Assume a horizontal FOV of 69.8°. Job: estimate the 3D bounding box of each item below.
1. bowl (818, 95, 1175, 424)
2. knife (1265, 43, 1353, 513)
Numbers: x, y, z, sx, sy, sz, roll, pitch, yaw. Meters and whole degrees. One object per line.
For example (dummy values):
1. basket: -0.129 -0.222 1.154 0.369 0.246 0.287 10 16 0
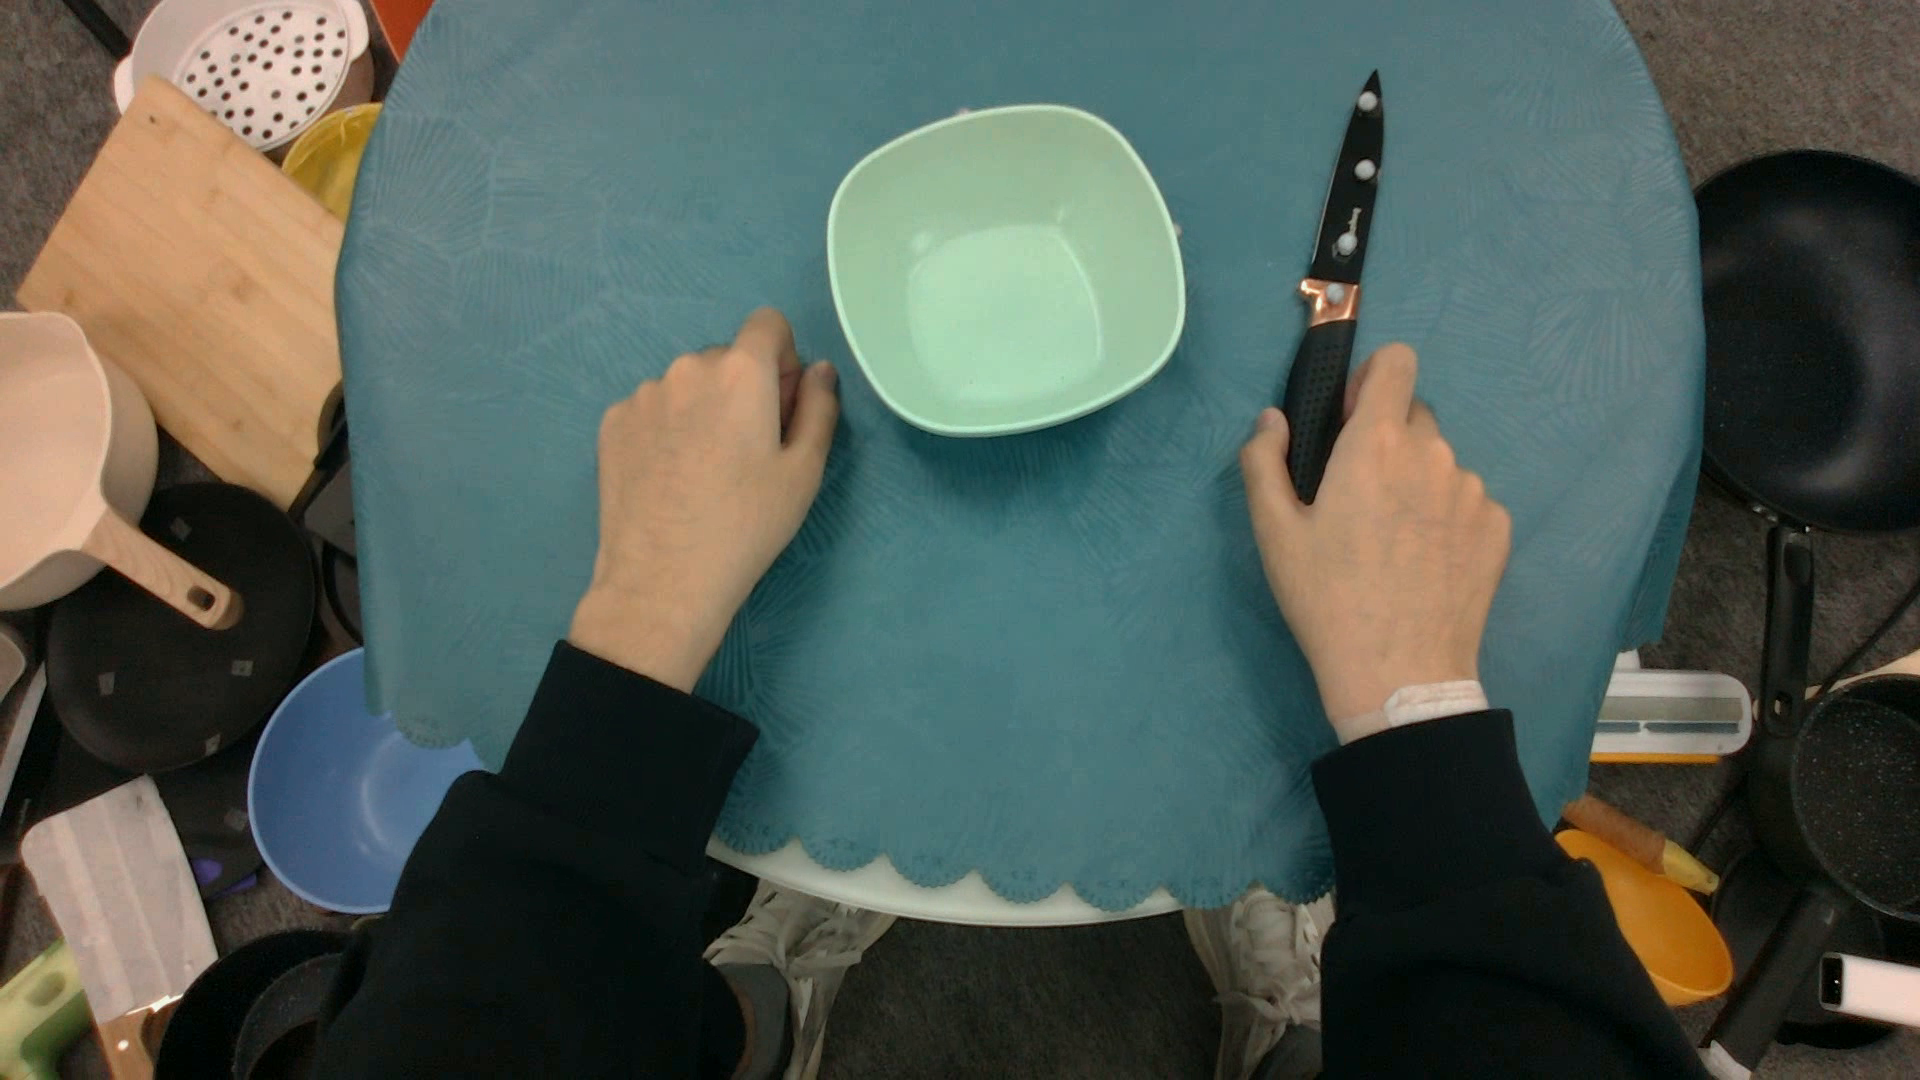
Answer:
1. bowl: 0.014 -0.108 0.574 0.151 0.058 0.152 0 75 0
2. knife: 0.156 -0.119 0.596 0.026 0.017 0.226 8 74 12
